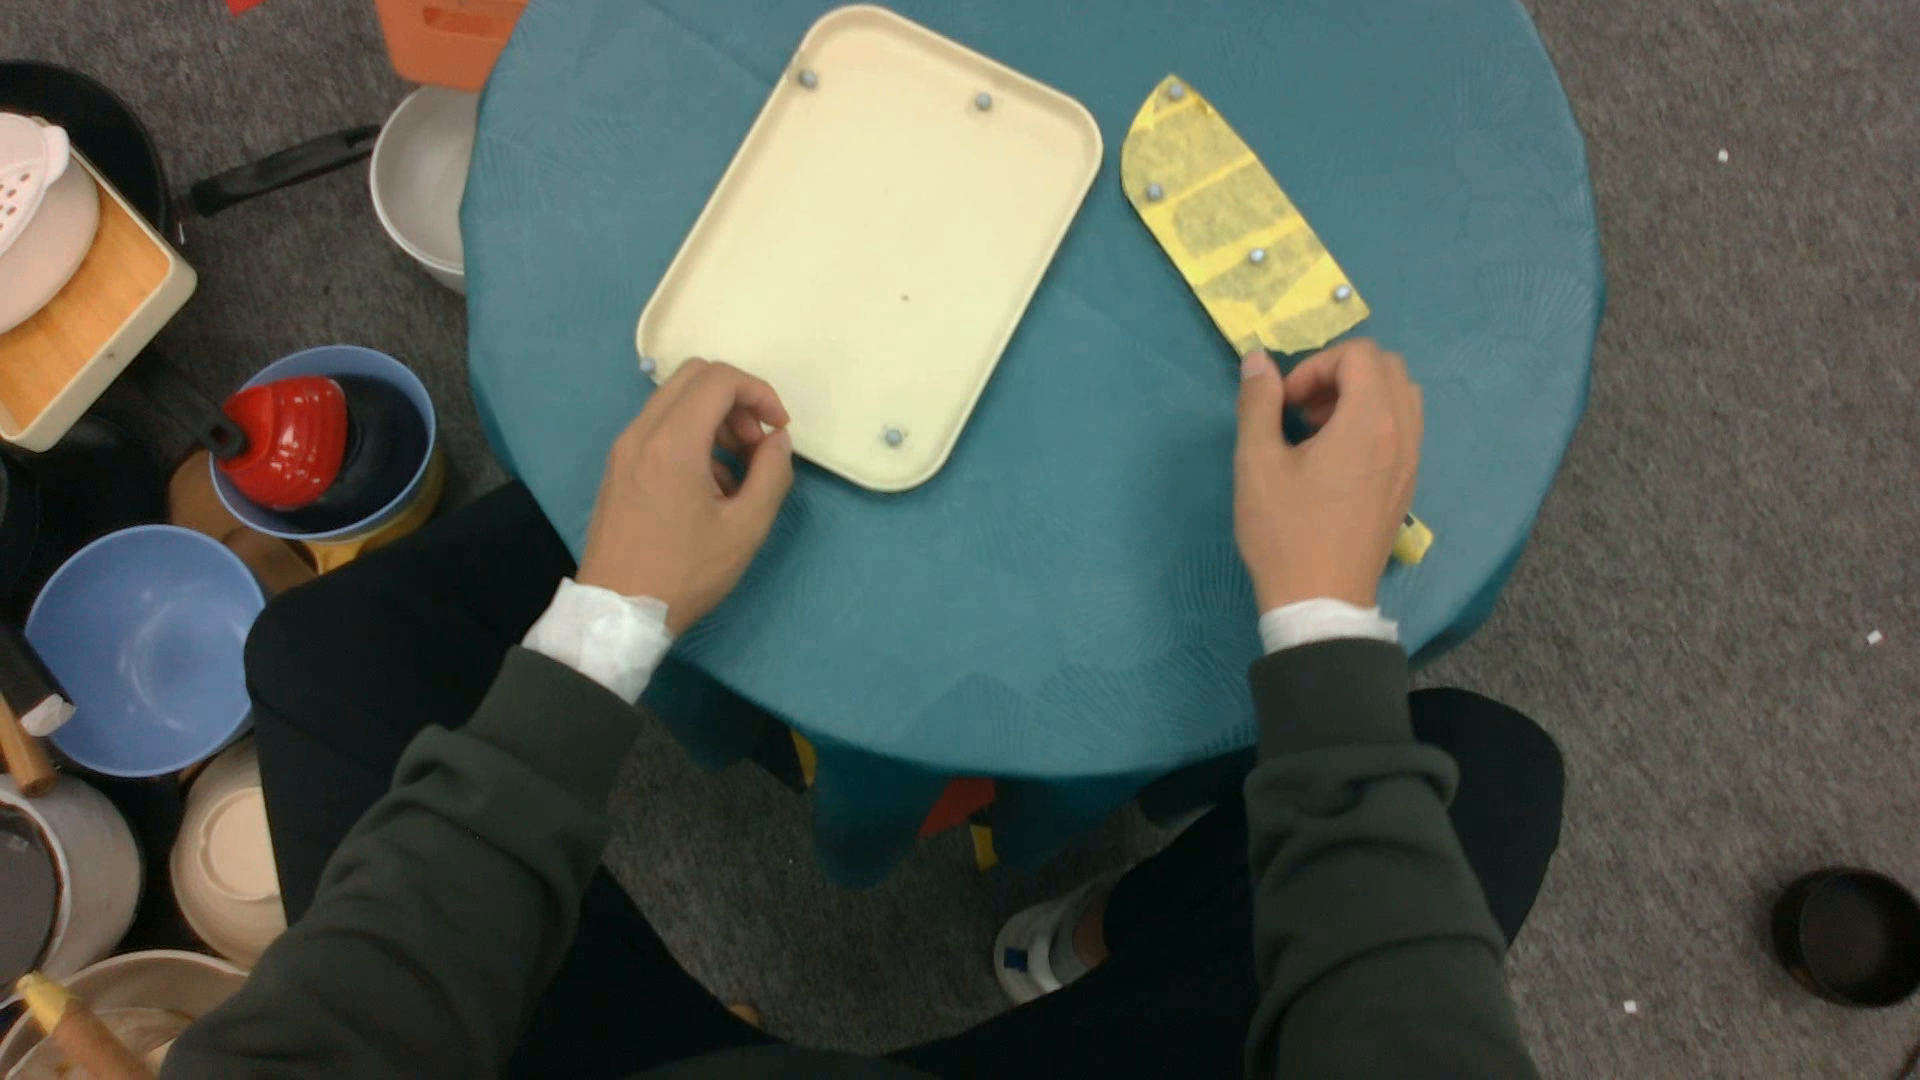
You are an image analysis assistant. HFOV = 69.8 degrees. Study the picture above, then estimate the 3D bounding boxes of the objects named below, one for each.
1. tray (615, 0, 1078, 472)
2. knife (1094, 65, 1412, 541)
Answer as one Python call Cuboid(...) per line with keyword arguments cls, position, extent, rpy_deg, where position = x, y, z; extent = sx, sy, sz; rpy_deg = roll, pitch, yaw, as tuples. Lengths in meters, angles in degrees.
Cuboid(cls="tray", position=(-0.055, -0.163, 0.707), extent=(0.171, 0.017, 0.240), rpy_deg=(26, 78, 1))
Cuboid(cls="knife", position=(0.158, -0.130, 0.715), extent=(0.081, 0.027, 0.290), rpy_deg=(-28, 80, -7))
